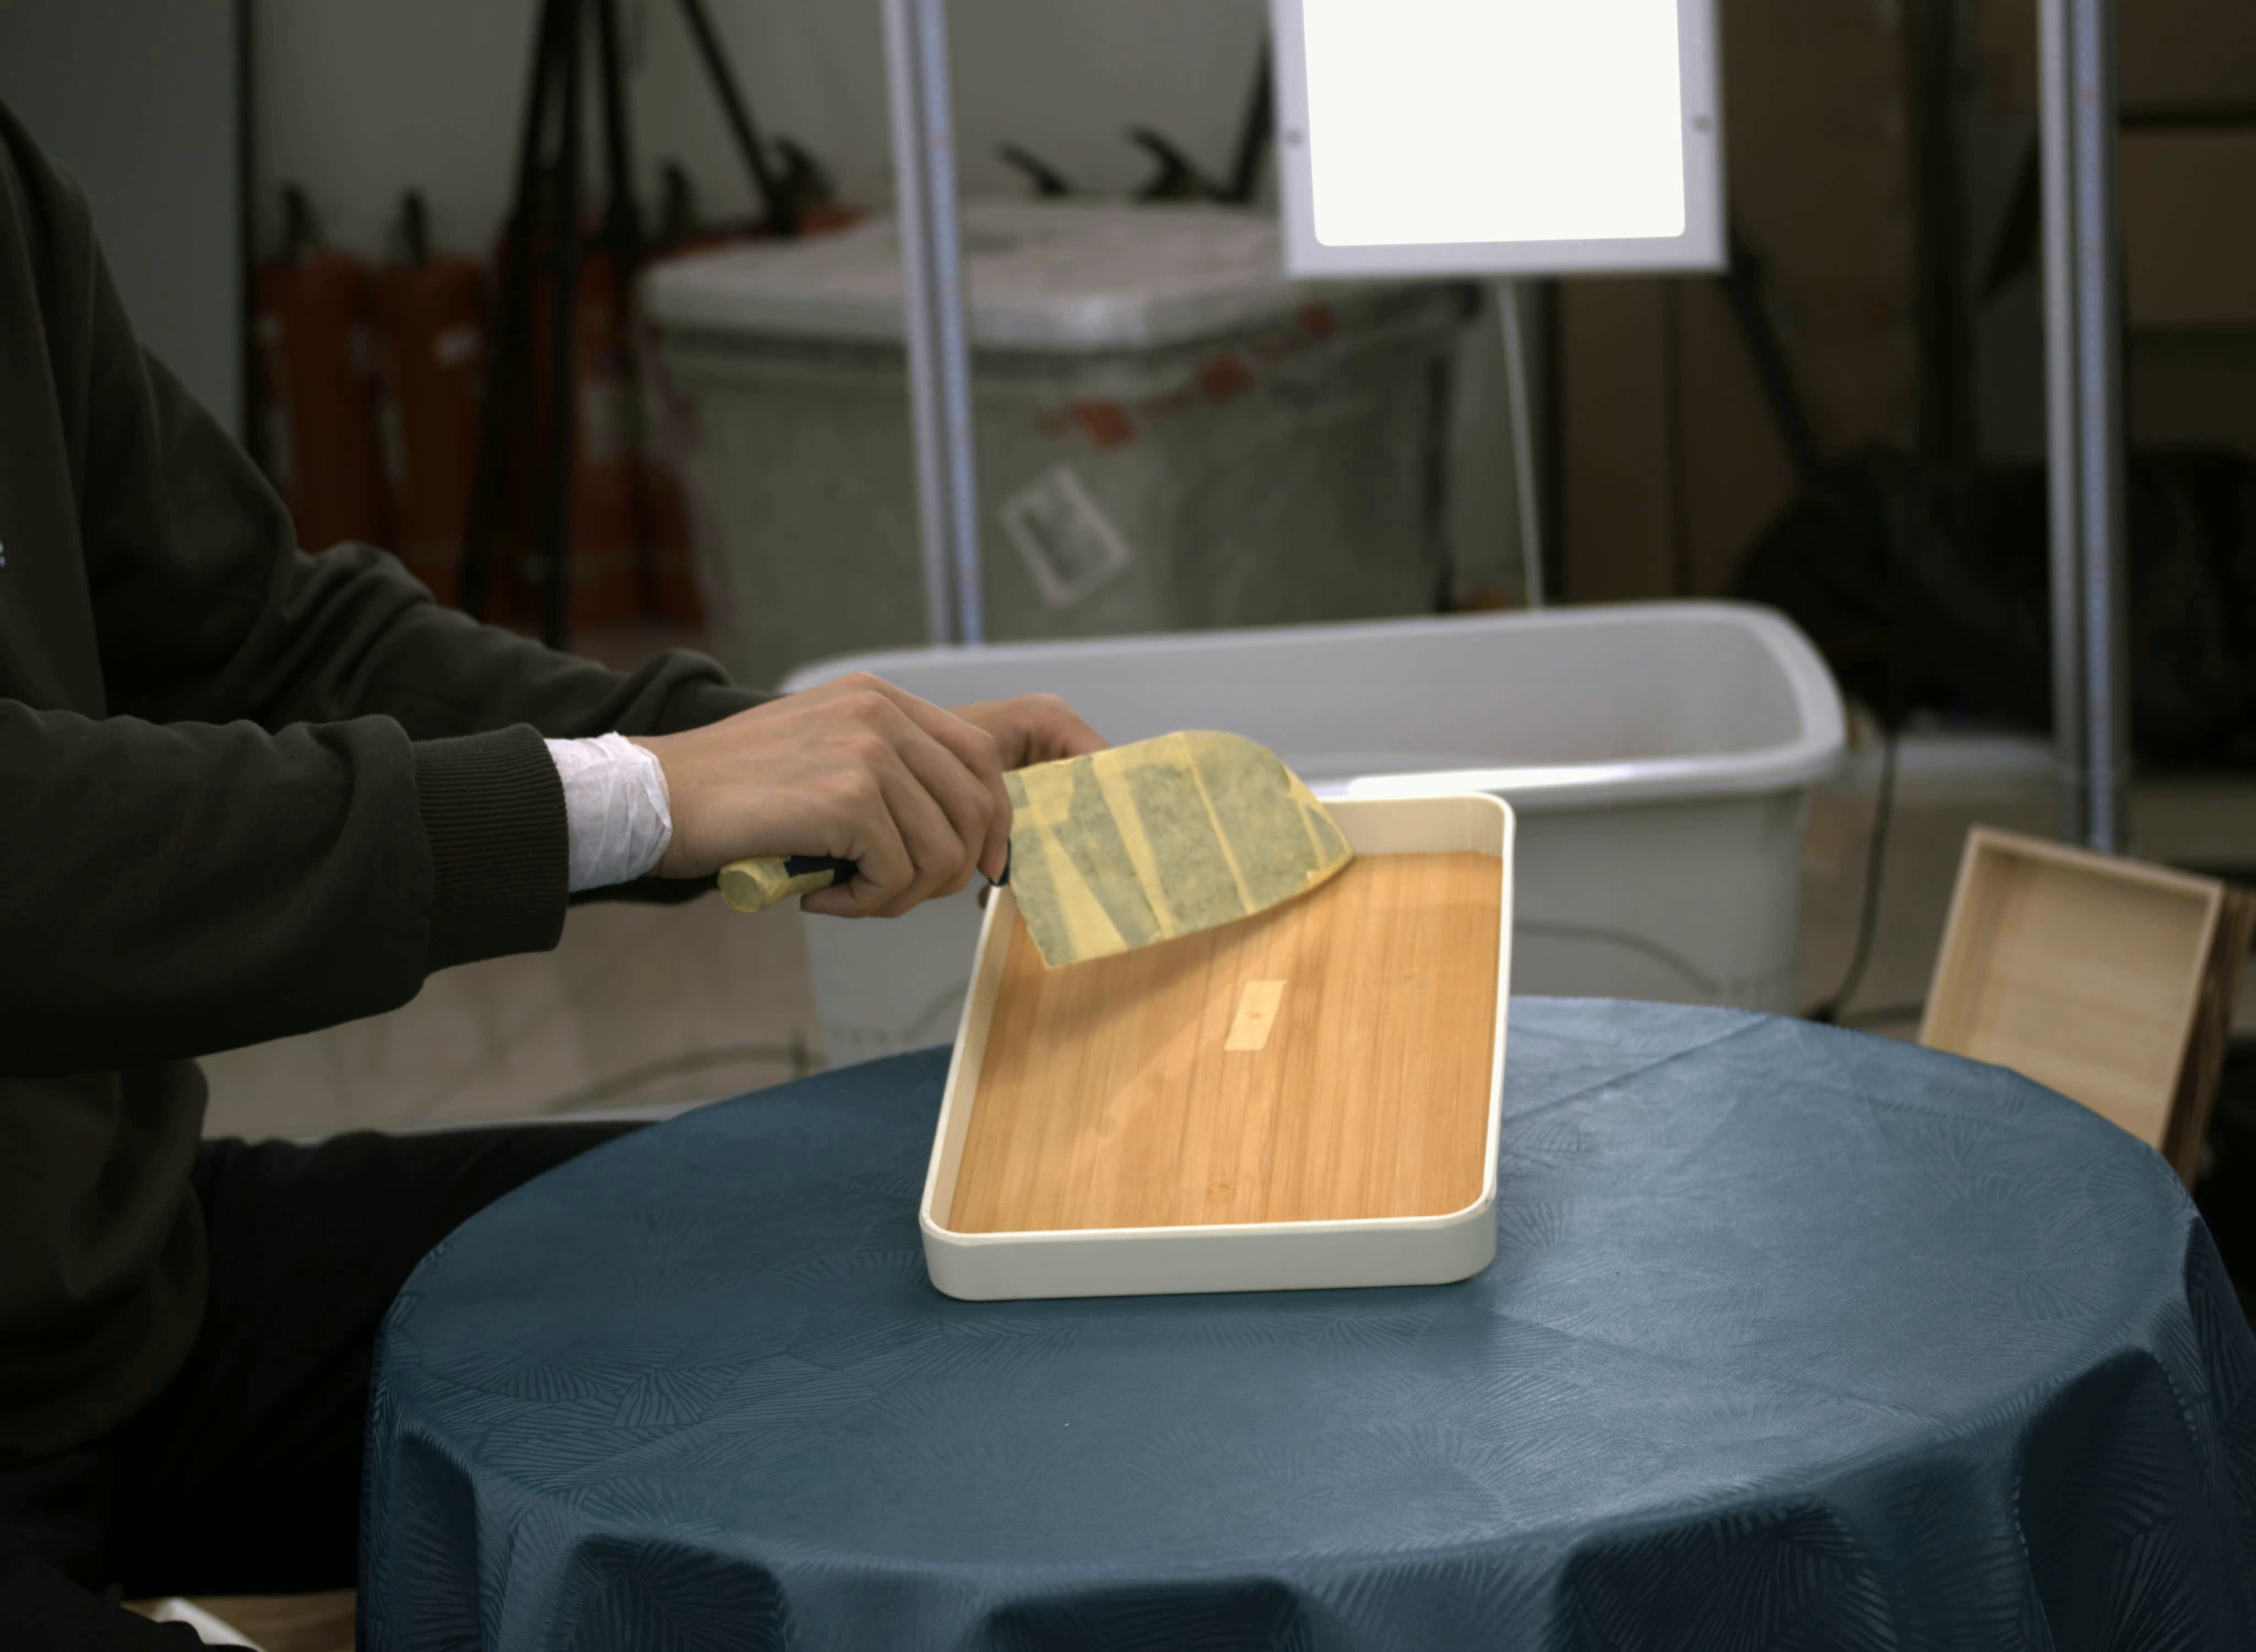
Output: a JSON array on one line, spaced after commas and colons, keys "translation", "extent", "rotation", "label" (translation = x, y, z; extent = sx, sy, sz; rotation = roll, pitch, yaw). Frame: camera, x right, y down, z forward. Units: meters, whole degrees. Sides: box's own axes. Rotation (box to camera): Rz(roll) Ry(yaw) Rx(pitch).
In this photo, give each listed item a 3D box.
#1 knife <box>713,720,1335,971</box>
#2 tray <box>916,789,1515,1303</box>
[{"translation": [-0.028, 0.011, 1.932], "extent": [0.282, 0.081, 0.028], "rotation": [-11, -17, -41], "label": "knife"}, {"translation": [0.037, 0.072, 1.912], "extent": [0.192, 0.027, 0.298], "rotation": [-4, 27, 9], "label": "tray"}]
